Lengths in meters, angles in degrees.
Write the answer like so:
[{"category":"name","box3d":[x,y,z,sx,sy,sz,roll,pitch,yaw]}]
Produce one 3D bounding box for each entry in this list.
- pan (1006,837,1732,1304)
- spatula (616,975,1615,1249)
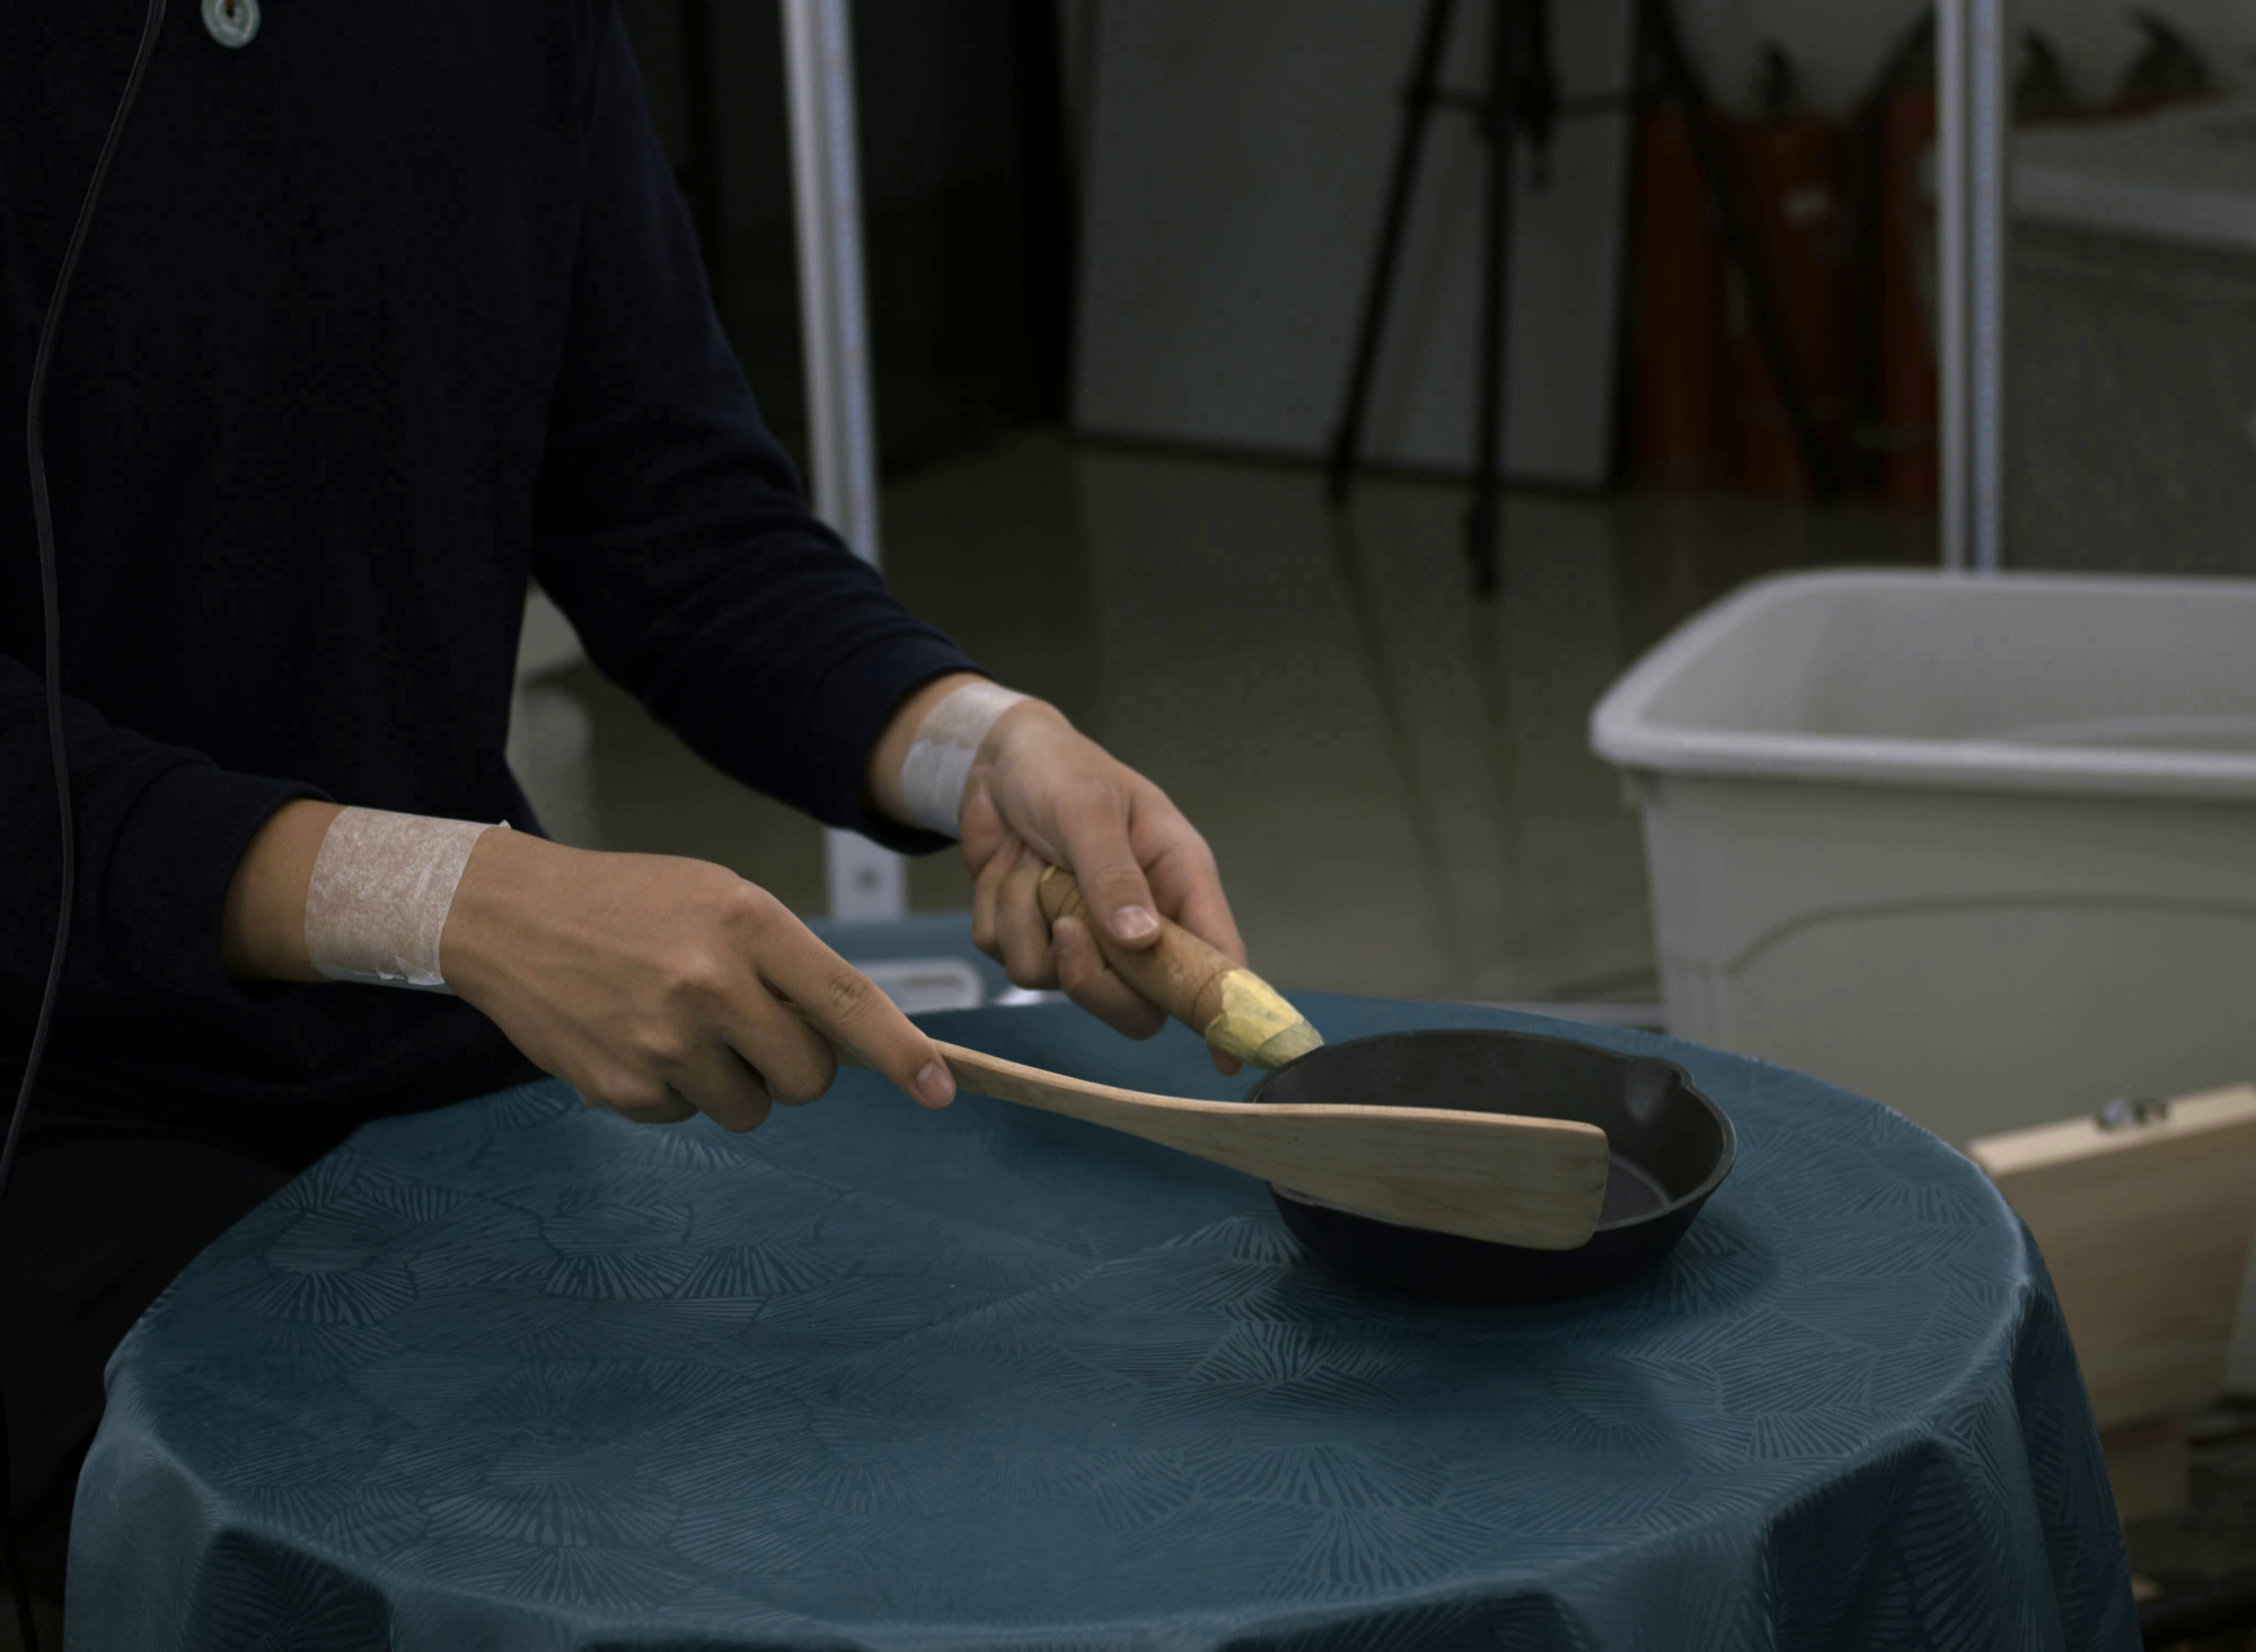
[{"category":"pan","box3d":[0.062,0.075,1.749,0.165,0.050,0.328,-14,26,-33]},{"category":"spatula","box3d":[-0.007,0.080,1.621,0.327,0.079,0.016,11,60,21]}]
